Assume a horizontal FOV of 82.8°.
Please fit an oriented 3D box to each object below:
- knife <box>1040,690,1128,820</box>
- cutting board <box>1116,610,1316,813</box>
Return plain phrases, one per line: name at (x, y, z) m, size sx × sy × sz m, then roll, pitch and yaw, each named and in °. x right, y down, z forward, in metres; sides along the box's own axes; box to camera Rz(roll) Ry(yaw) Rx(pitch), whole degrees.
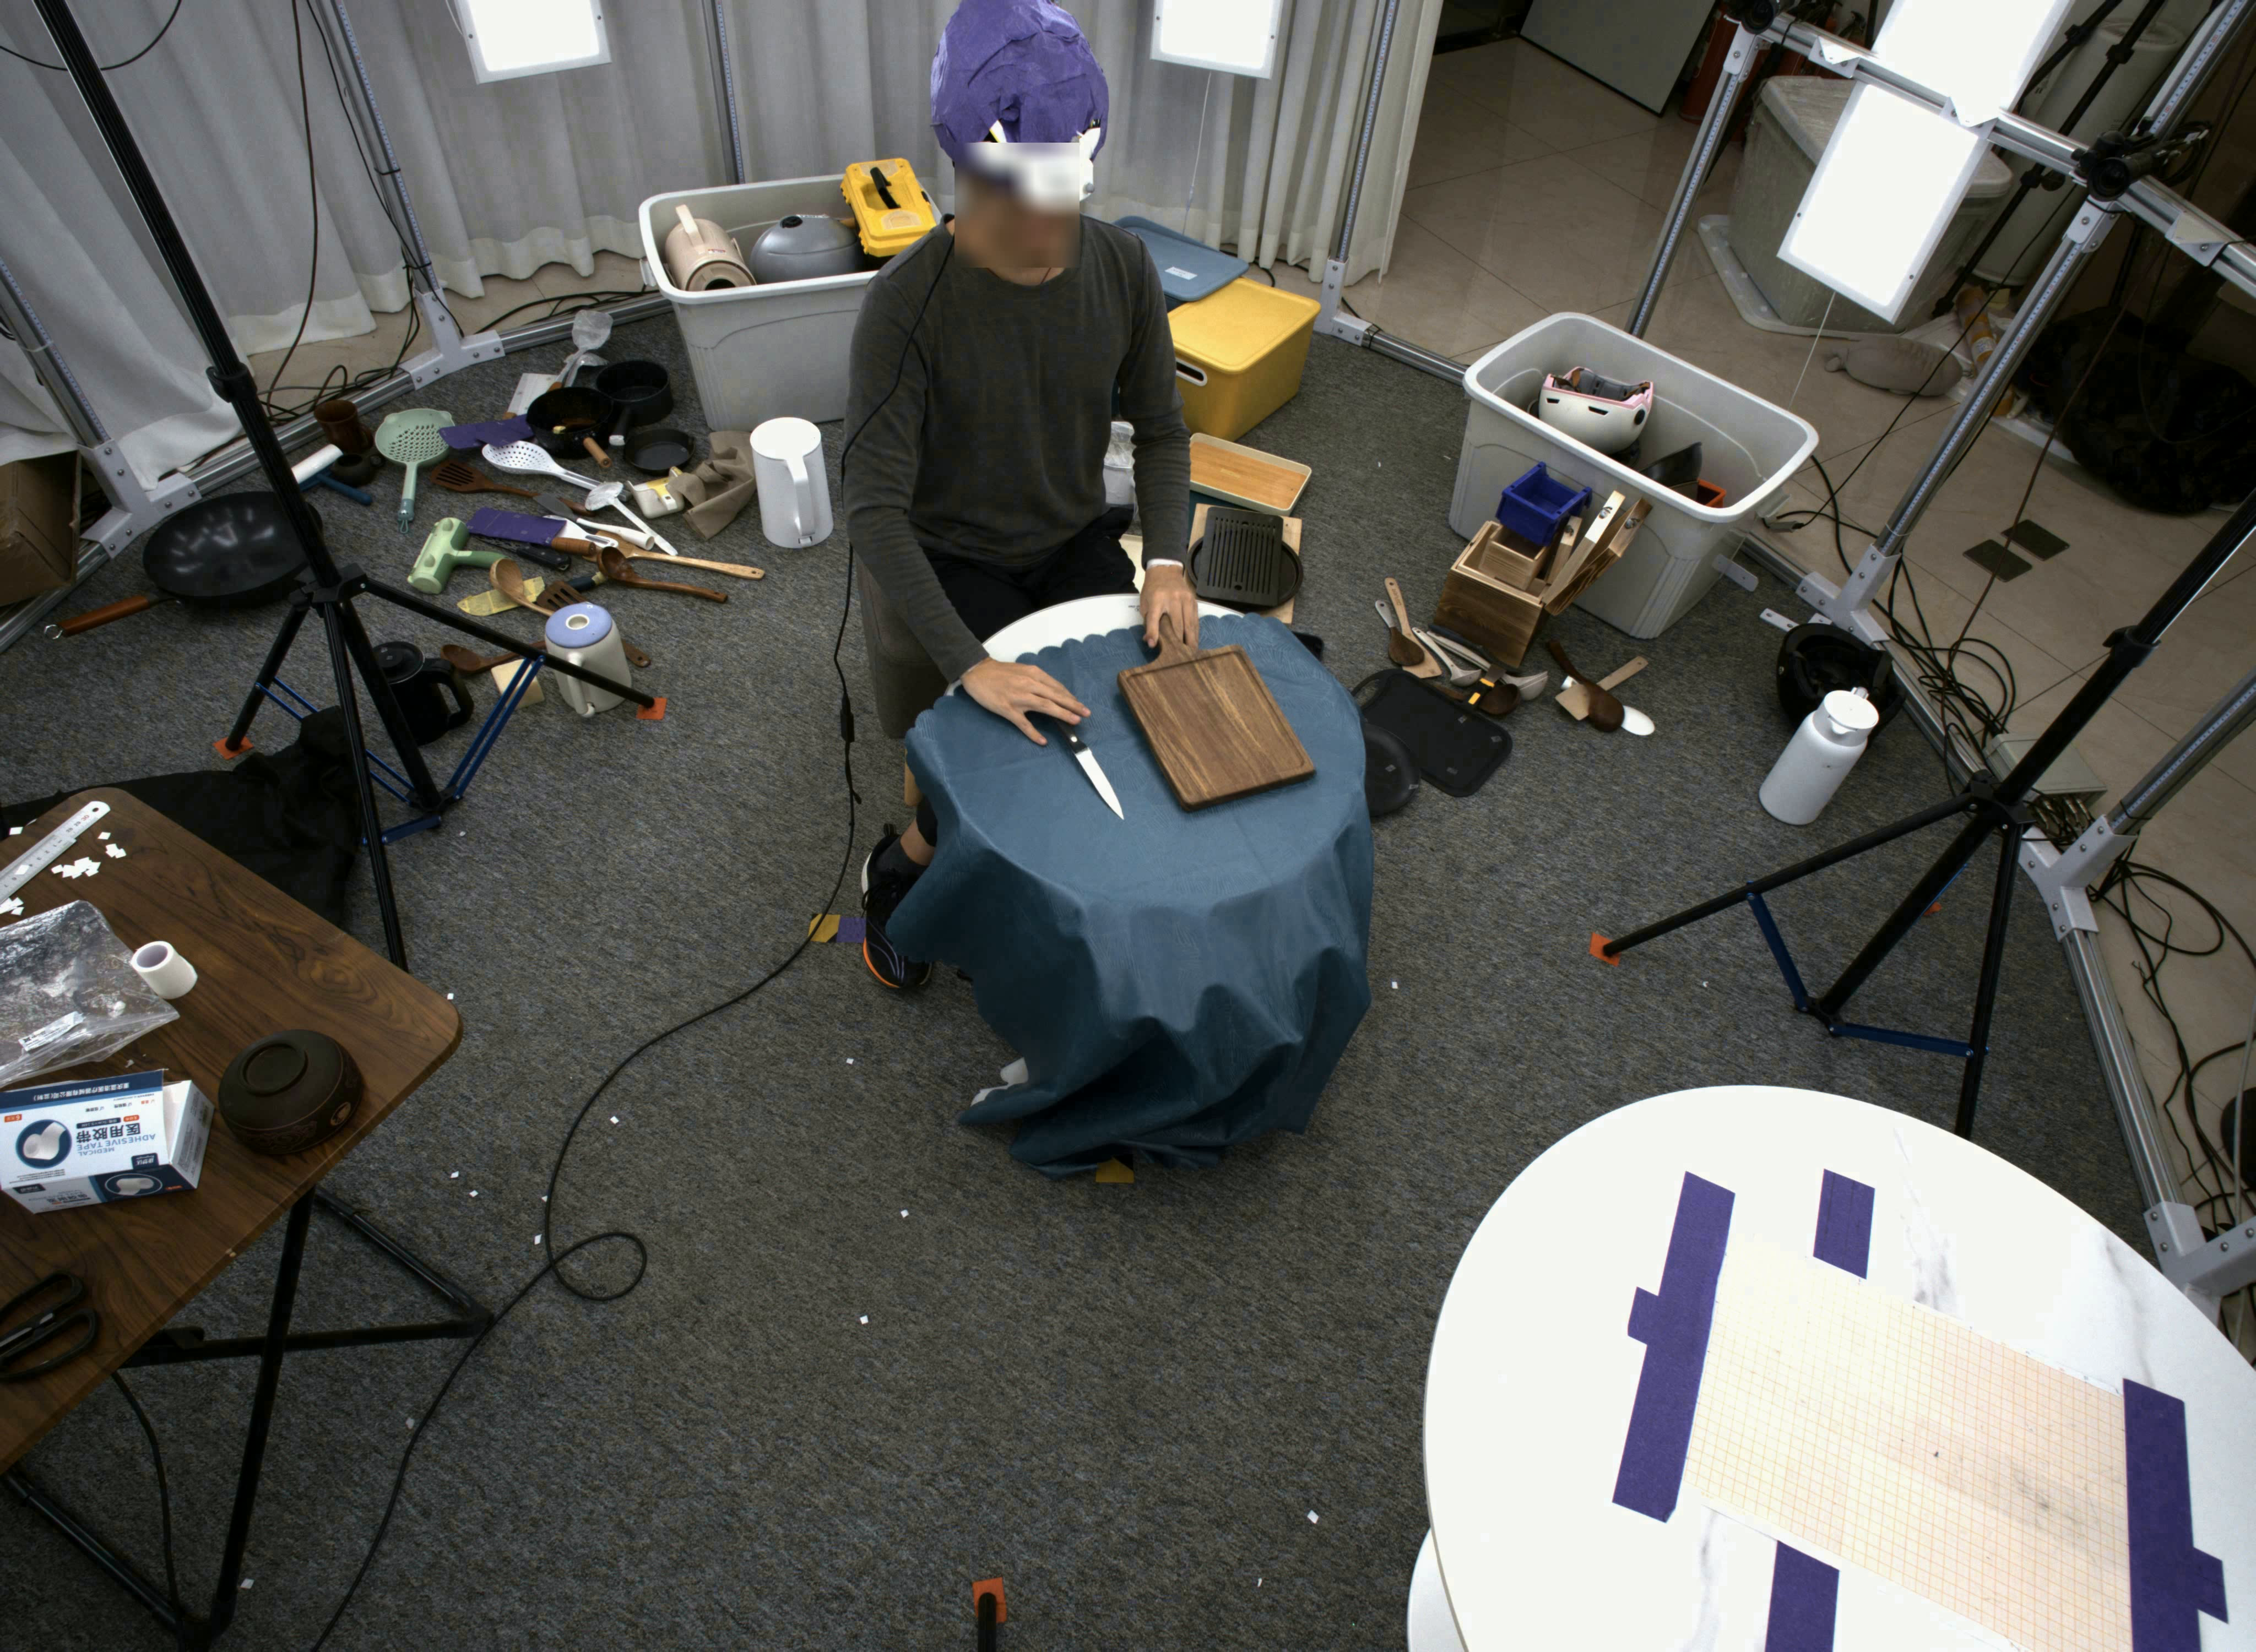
knife at (-0.061, -0.096, 1.731) m, size 0.024 × 0.016 × 0.243 m, roll -22°, pitch 60°, yaw -20°
cutting board at (0.100, -0.179, 1.802) m, size 0.201 × 0.022 × 0.360 m, roll -15°, pitch 55°, yaw -17°
